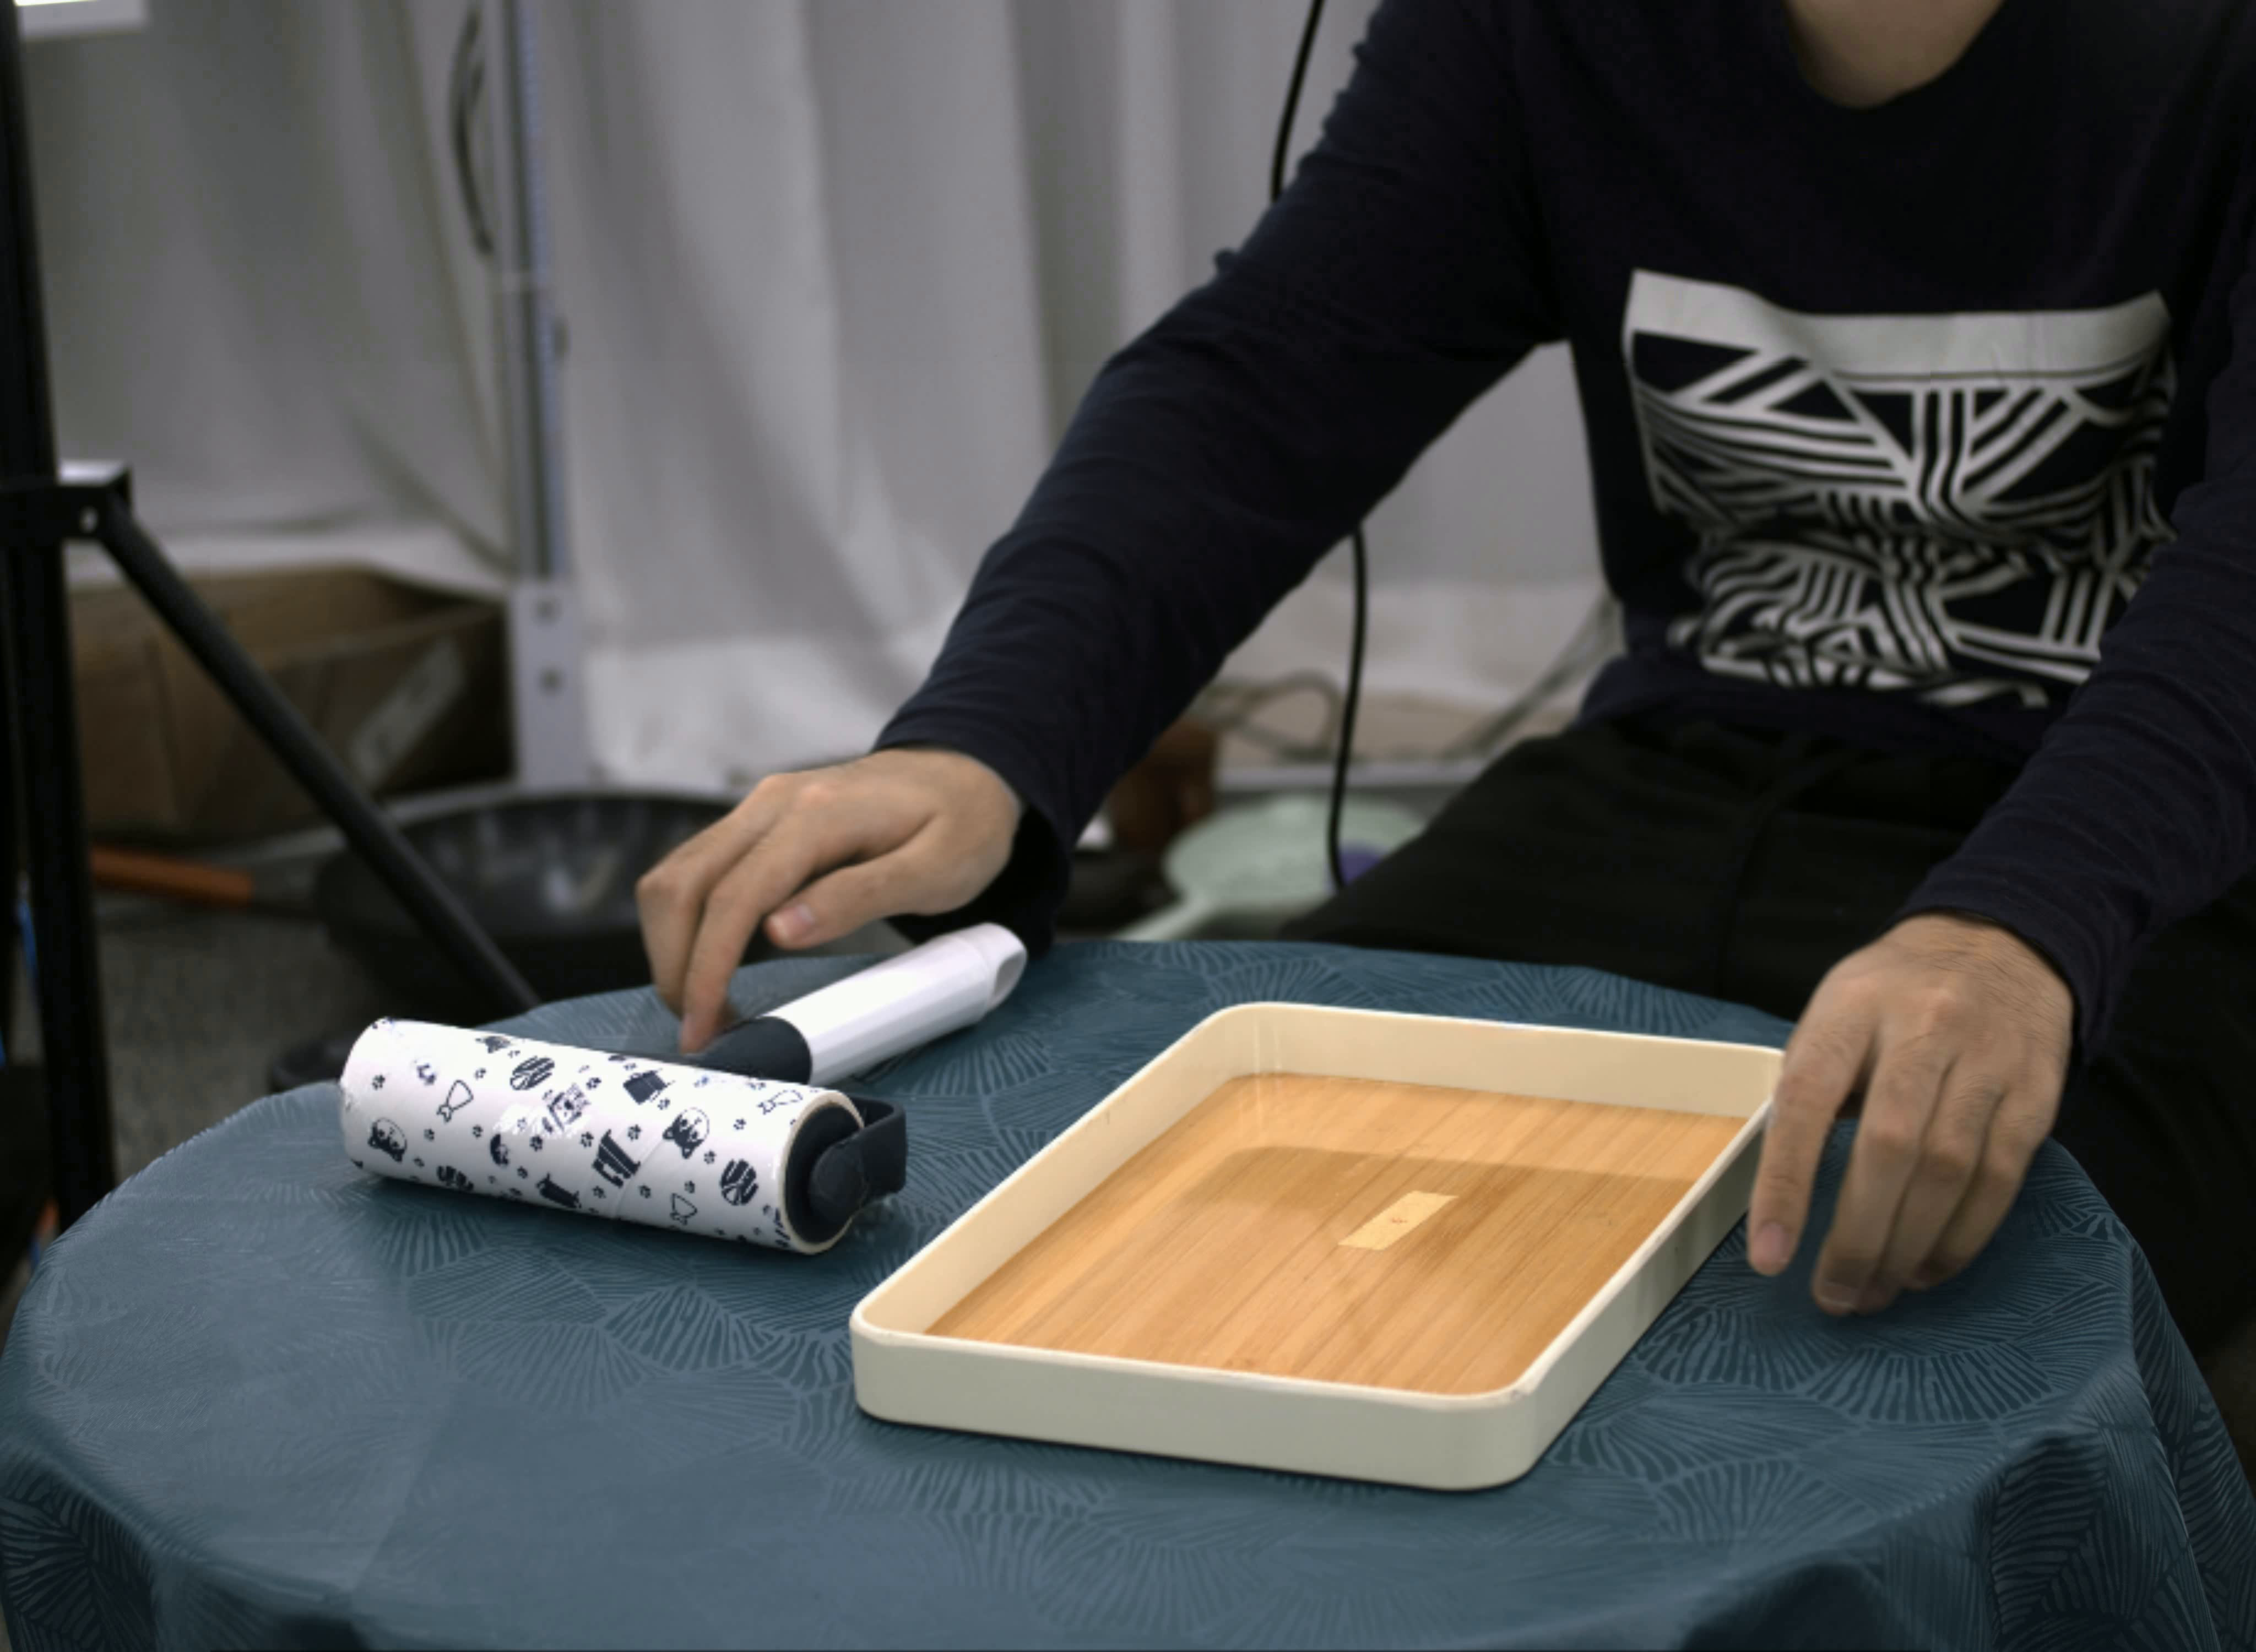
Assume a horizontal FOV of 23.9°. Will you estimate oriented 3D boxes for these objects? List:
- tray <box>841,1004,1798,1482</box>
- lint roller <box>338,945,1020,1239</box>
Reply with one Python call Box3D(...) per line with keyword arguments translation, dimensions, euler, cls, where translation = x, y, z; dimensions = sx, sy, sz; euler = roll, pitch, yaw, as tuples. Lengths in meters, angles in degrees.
Box3D(translation=(0.062, 0.111, 1.489), dimensions=(0.194, 0.027, 0.296), euler=(2, 17, 23), cls="tray")
Box3D(translation=(-0.105, 0.067, 1.647), dimensions=(0.179, 0.050, 0.242), euler=(6, 16, 30), cls="lint roller")
